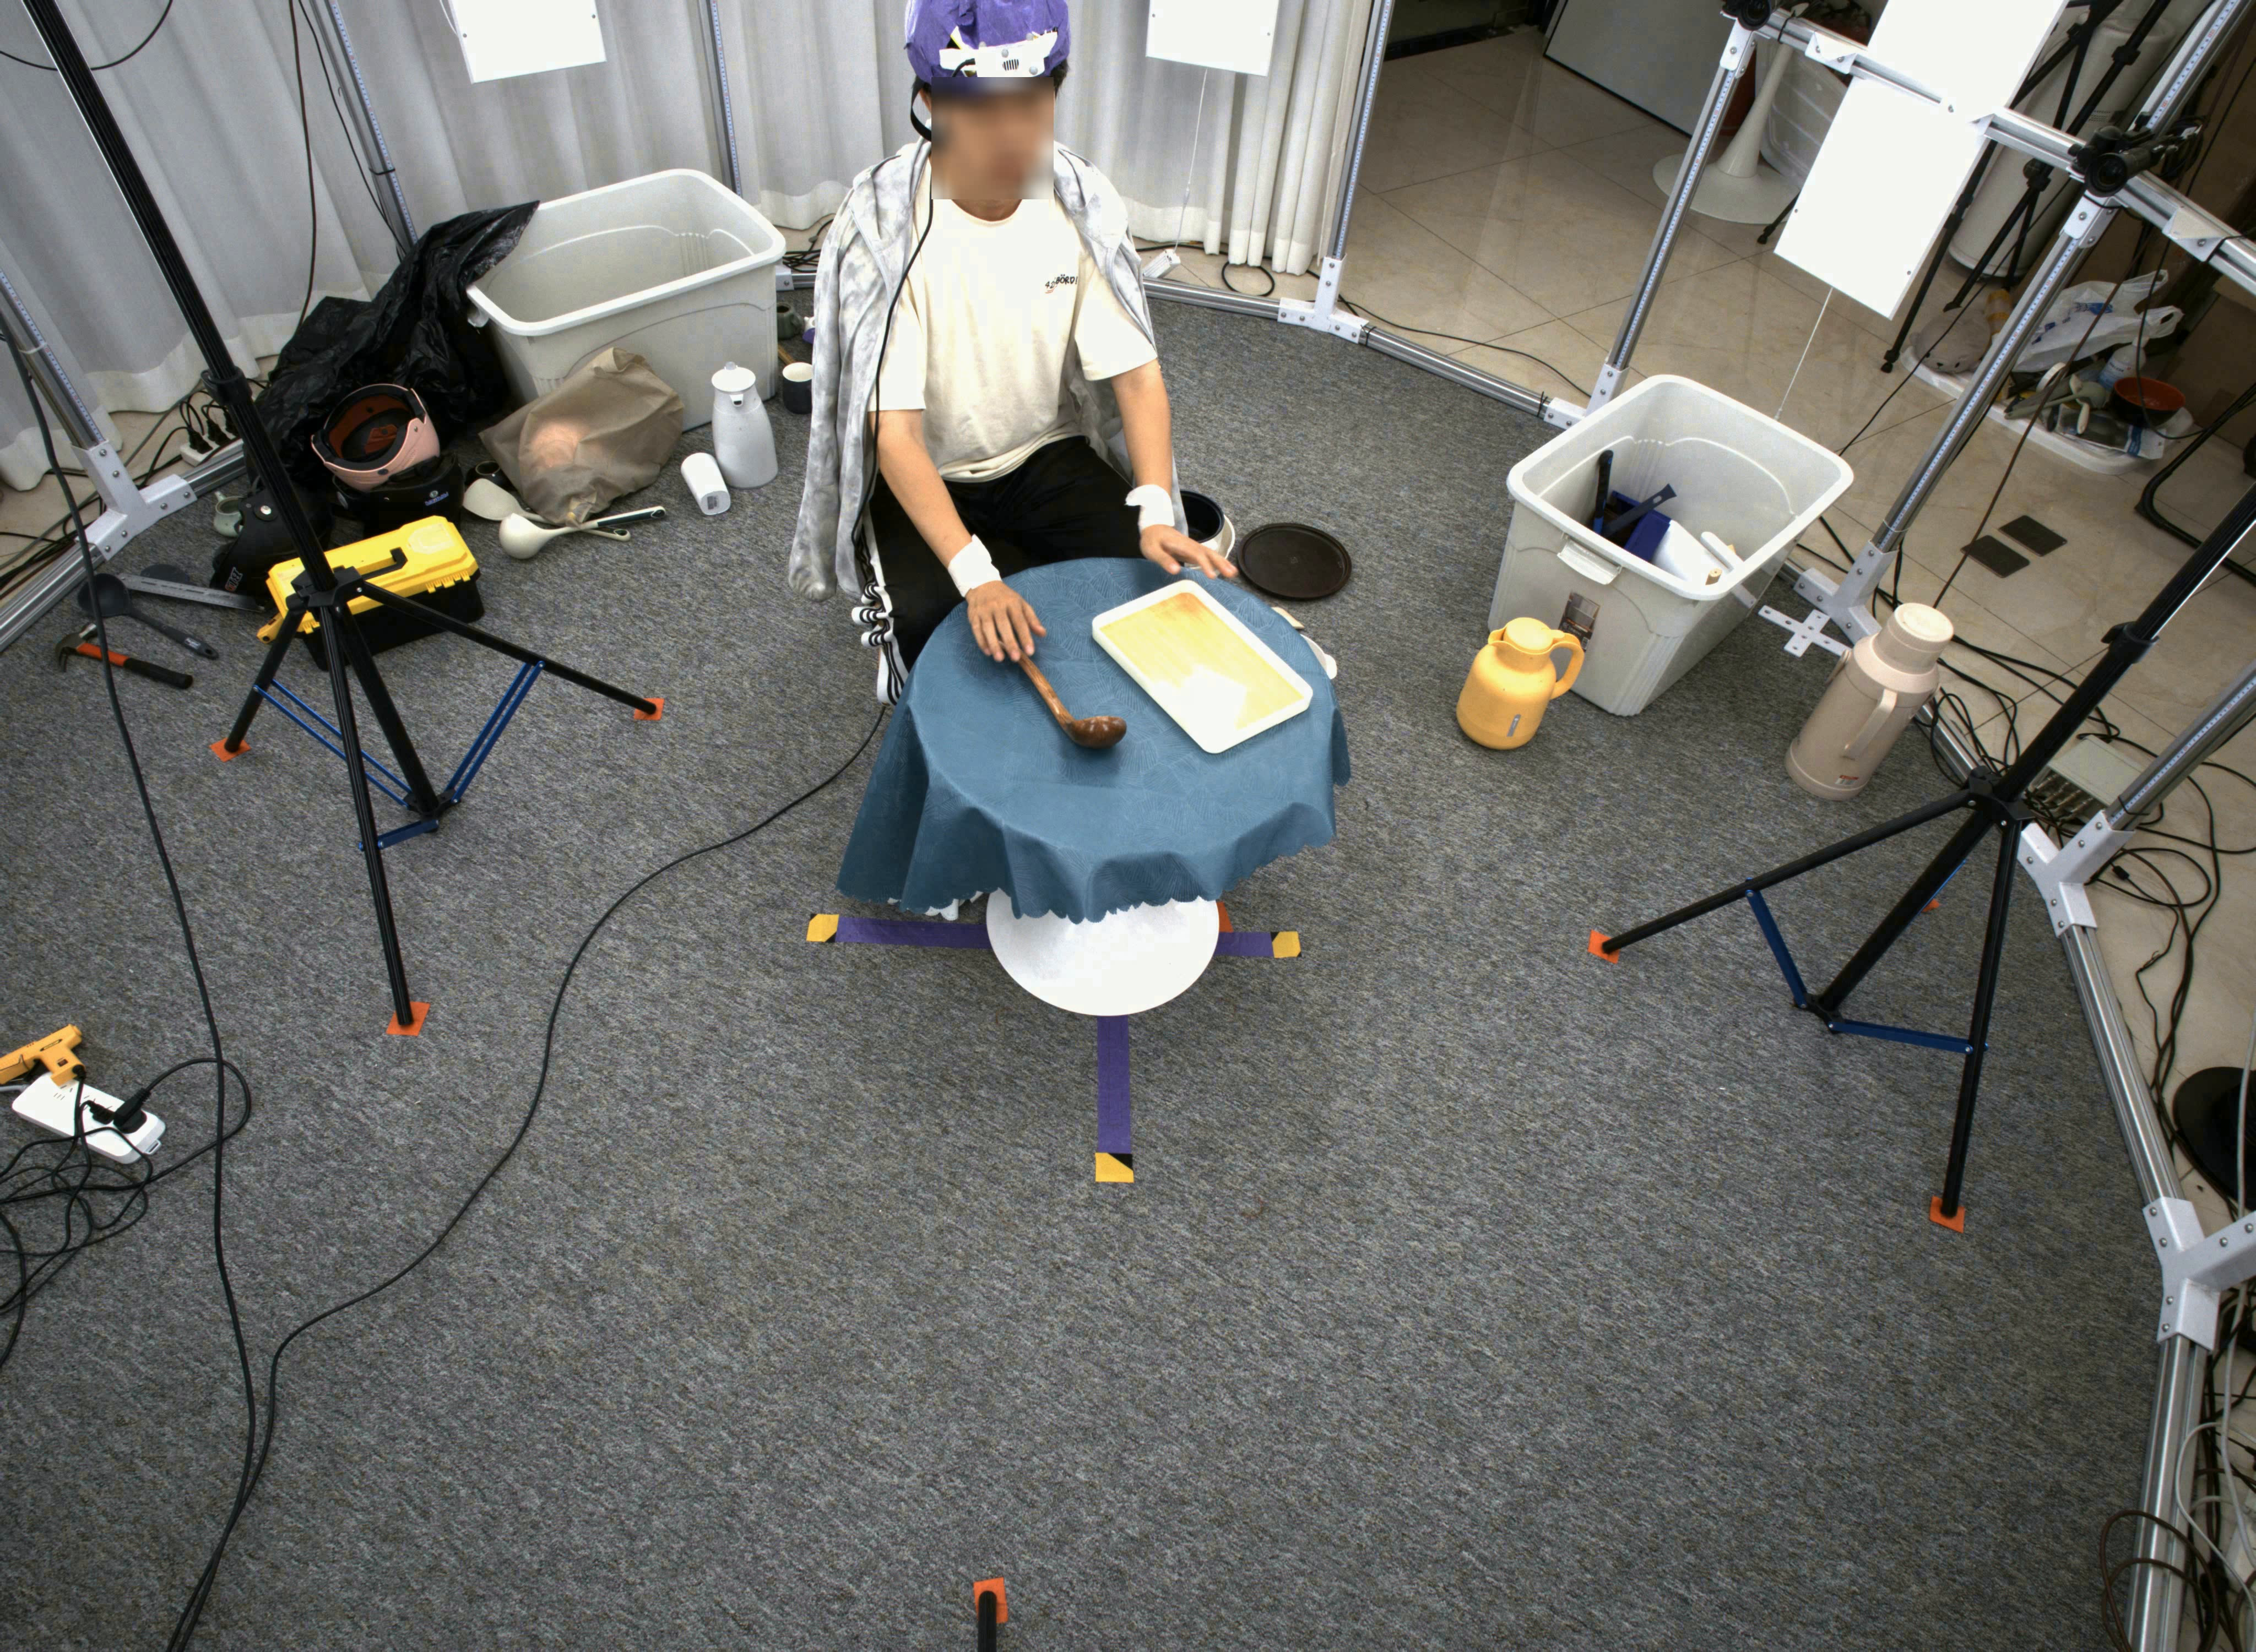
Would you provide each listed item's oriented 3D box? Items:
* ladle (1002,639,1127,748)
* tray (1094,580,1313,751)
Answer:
[{"bbox_3d":[-0.094,-0.201,1.784,0.081,0.076,0.280,15,32,-47],"label":"ladle"},{"bbox_3d":[0.106,-0.238,1.857,0.192,0.027,0.306,-26,55,-24],"label":"tray"}]
